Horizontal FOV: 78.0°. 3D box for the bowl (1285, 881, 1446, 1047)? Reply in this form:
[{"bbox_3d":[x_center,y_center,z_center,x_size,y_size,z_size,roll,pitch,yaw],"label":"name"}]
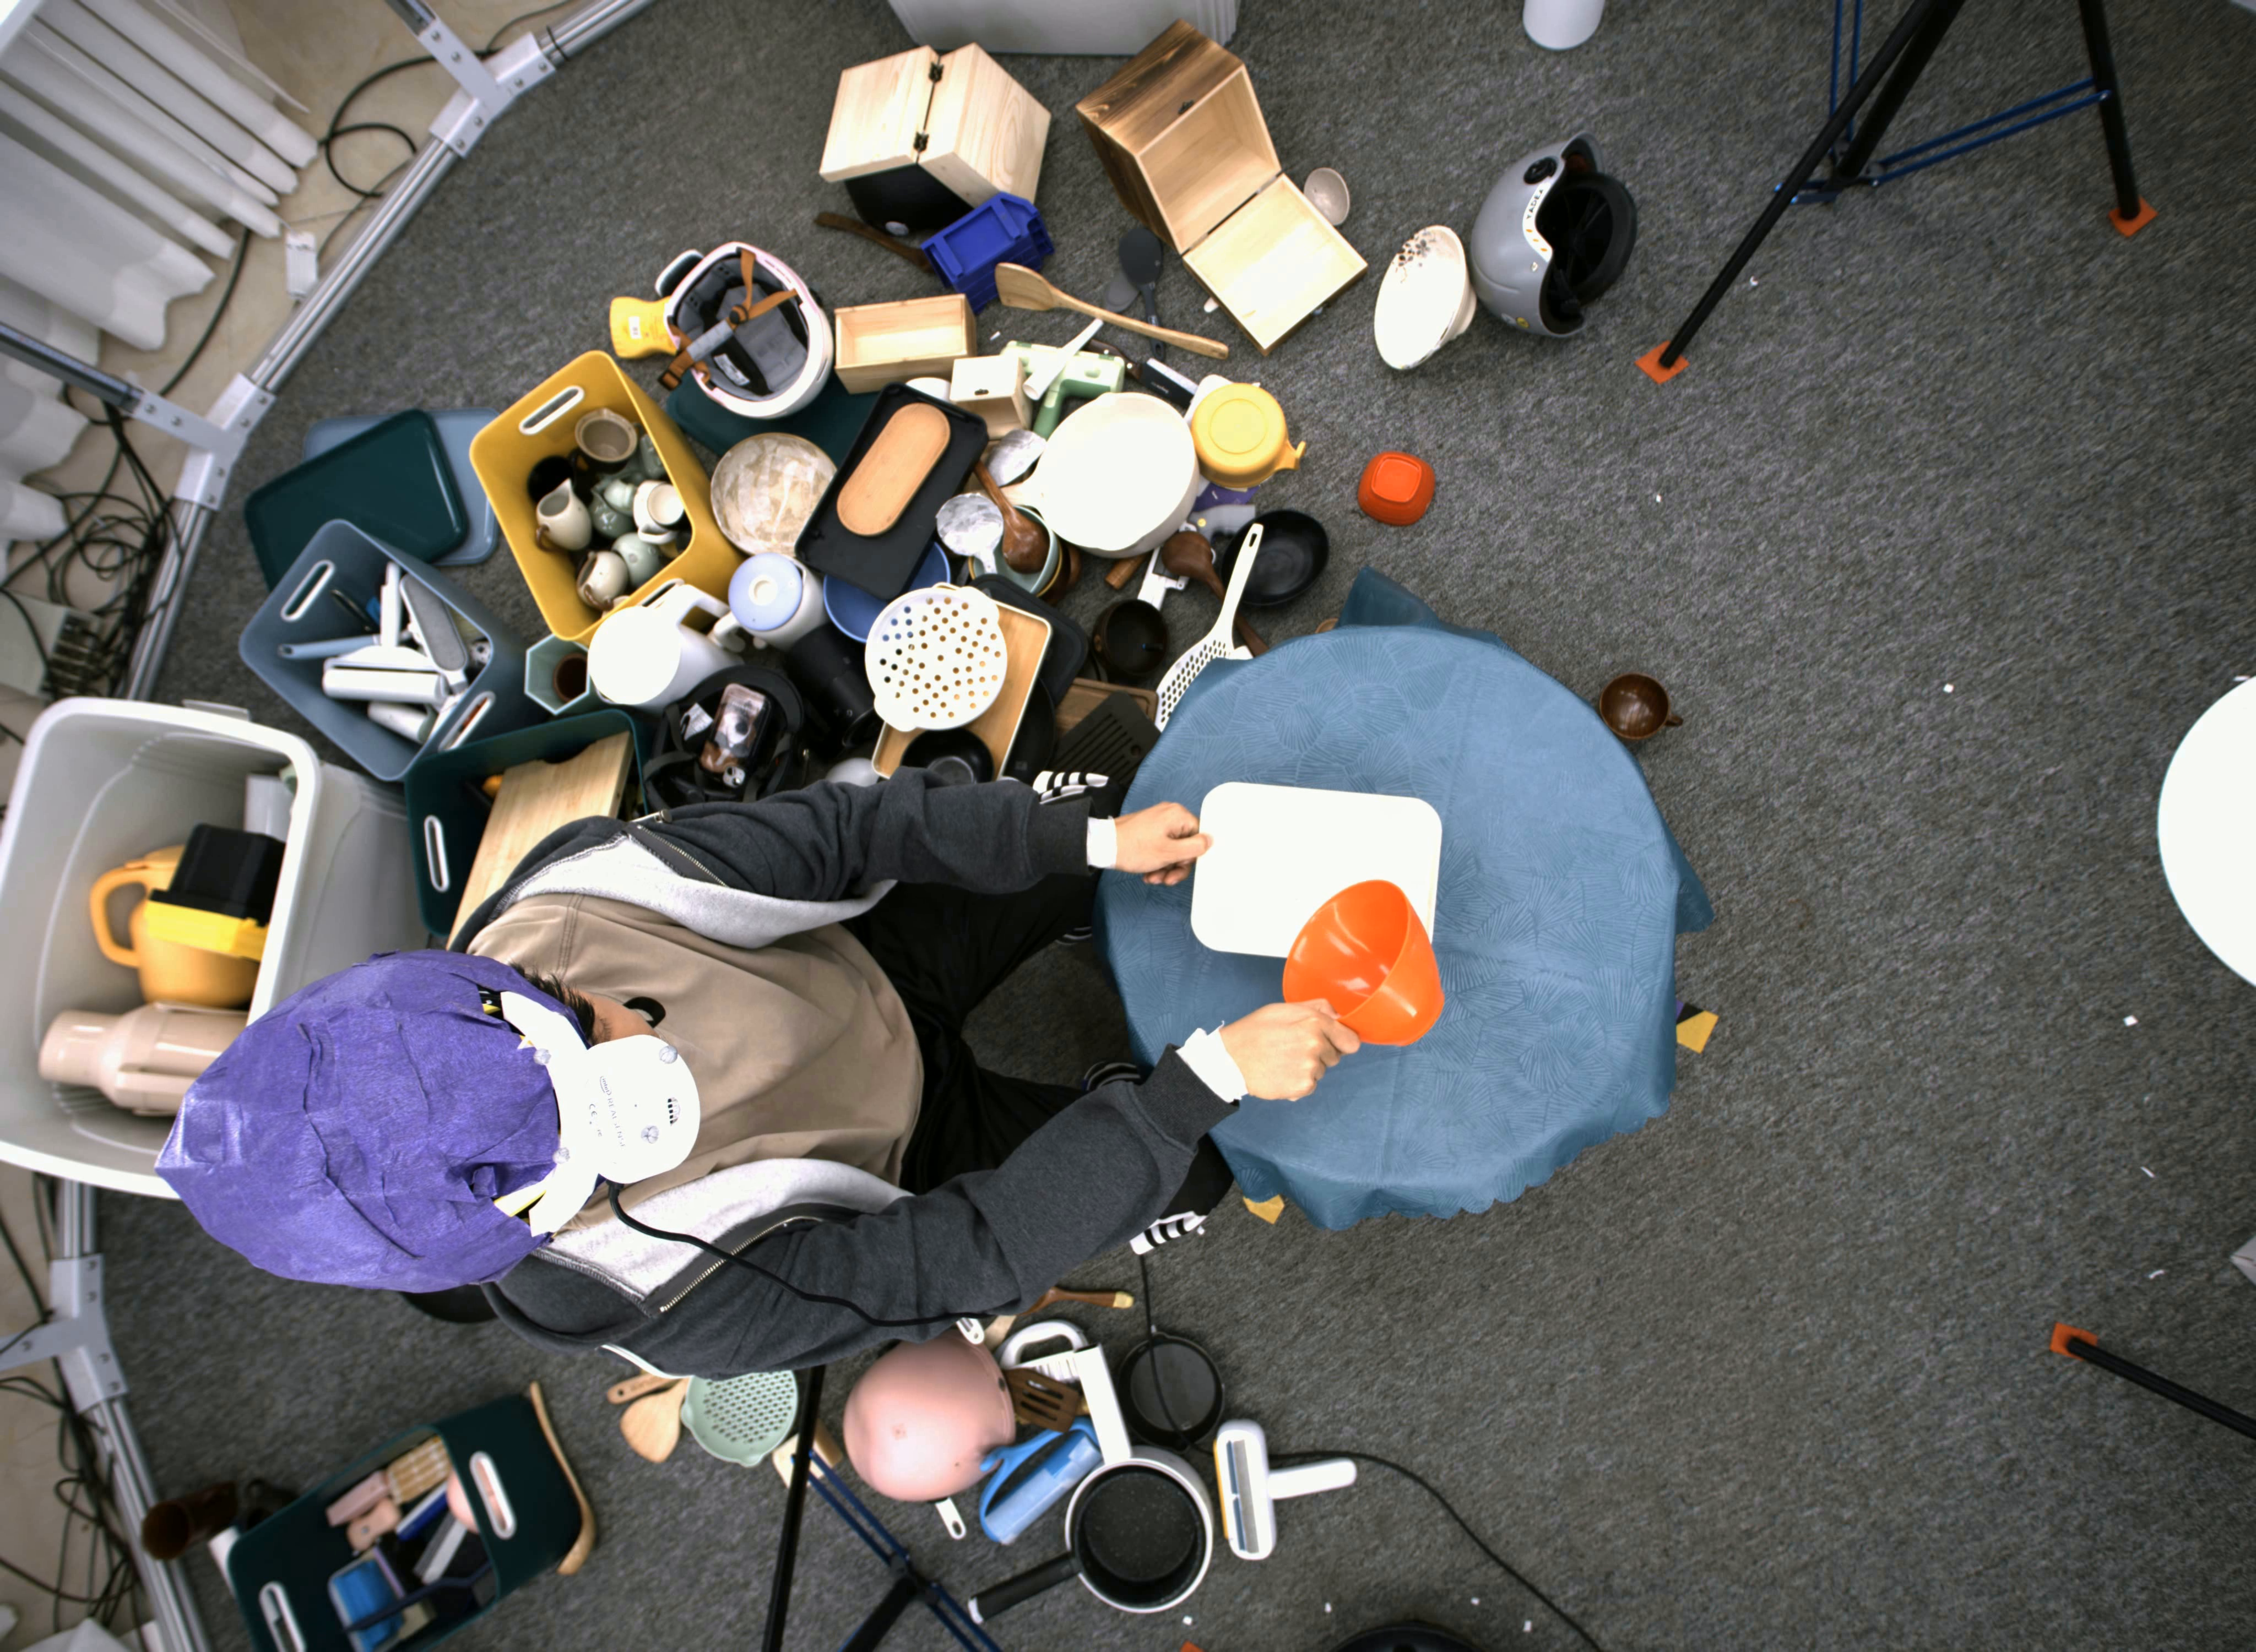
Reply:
[{"bbox_3d":[0.225,0.135,1.244,0.105,0.146,0.148,41,93,-16],"label":"bowl"}]

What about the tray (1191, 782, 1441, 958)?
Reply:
[{"bbox_3d":[0.186,0.047,1.379,0.240,0.017,0.171,5,91,8],"label":"tray"}]
